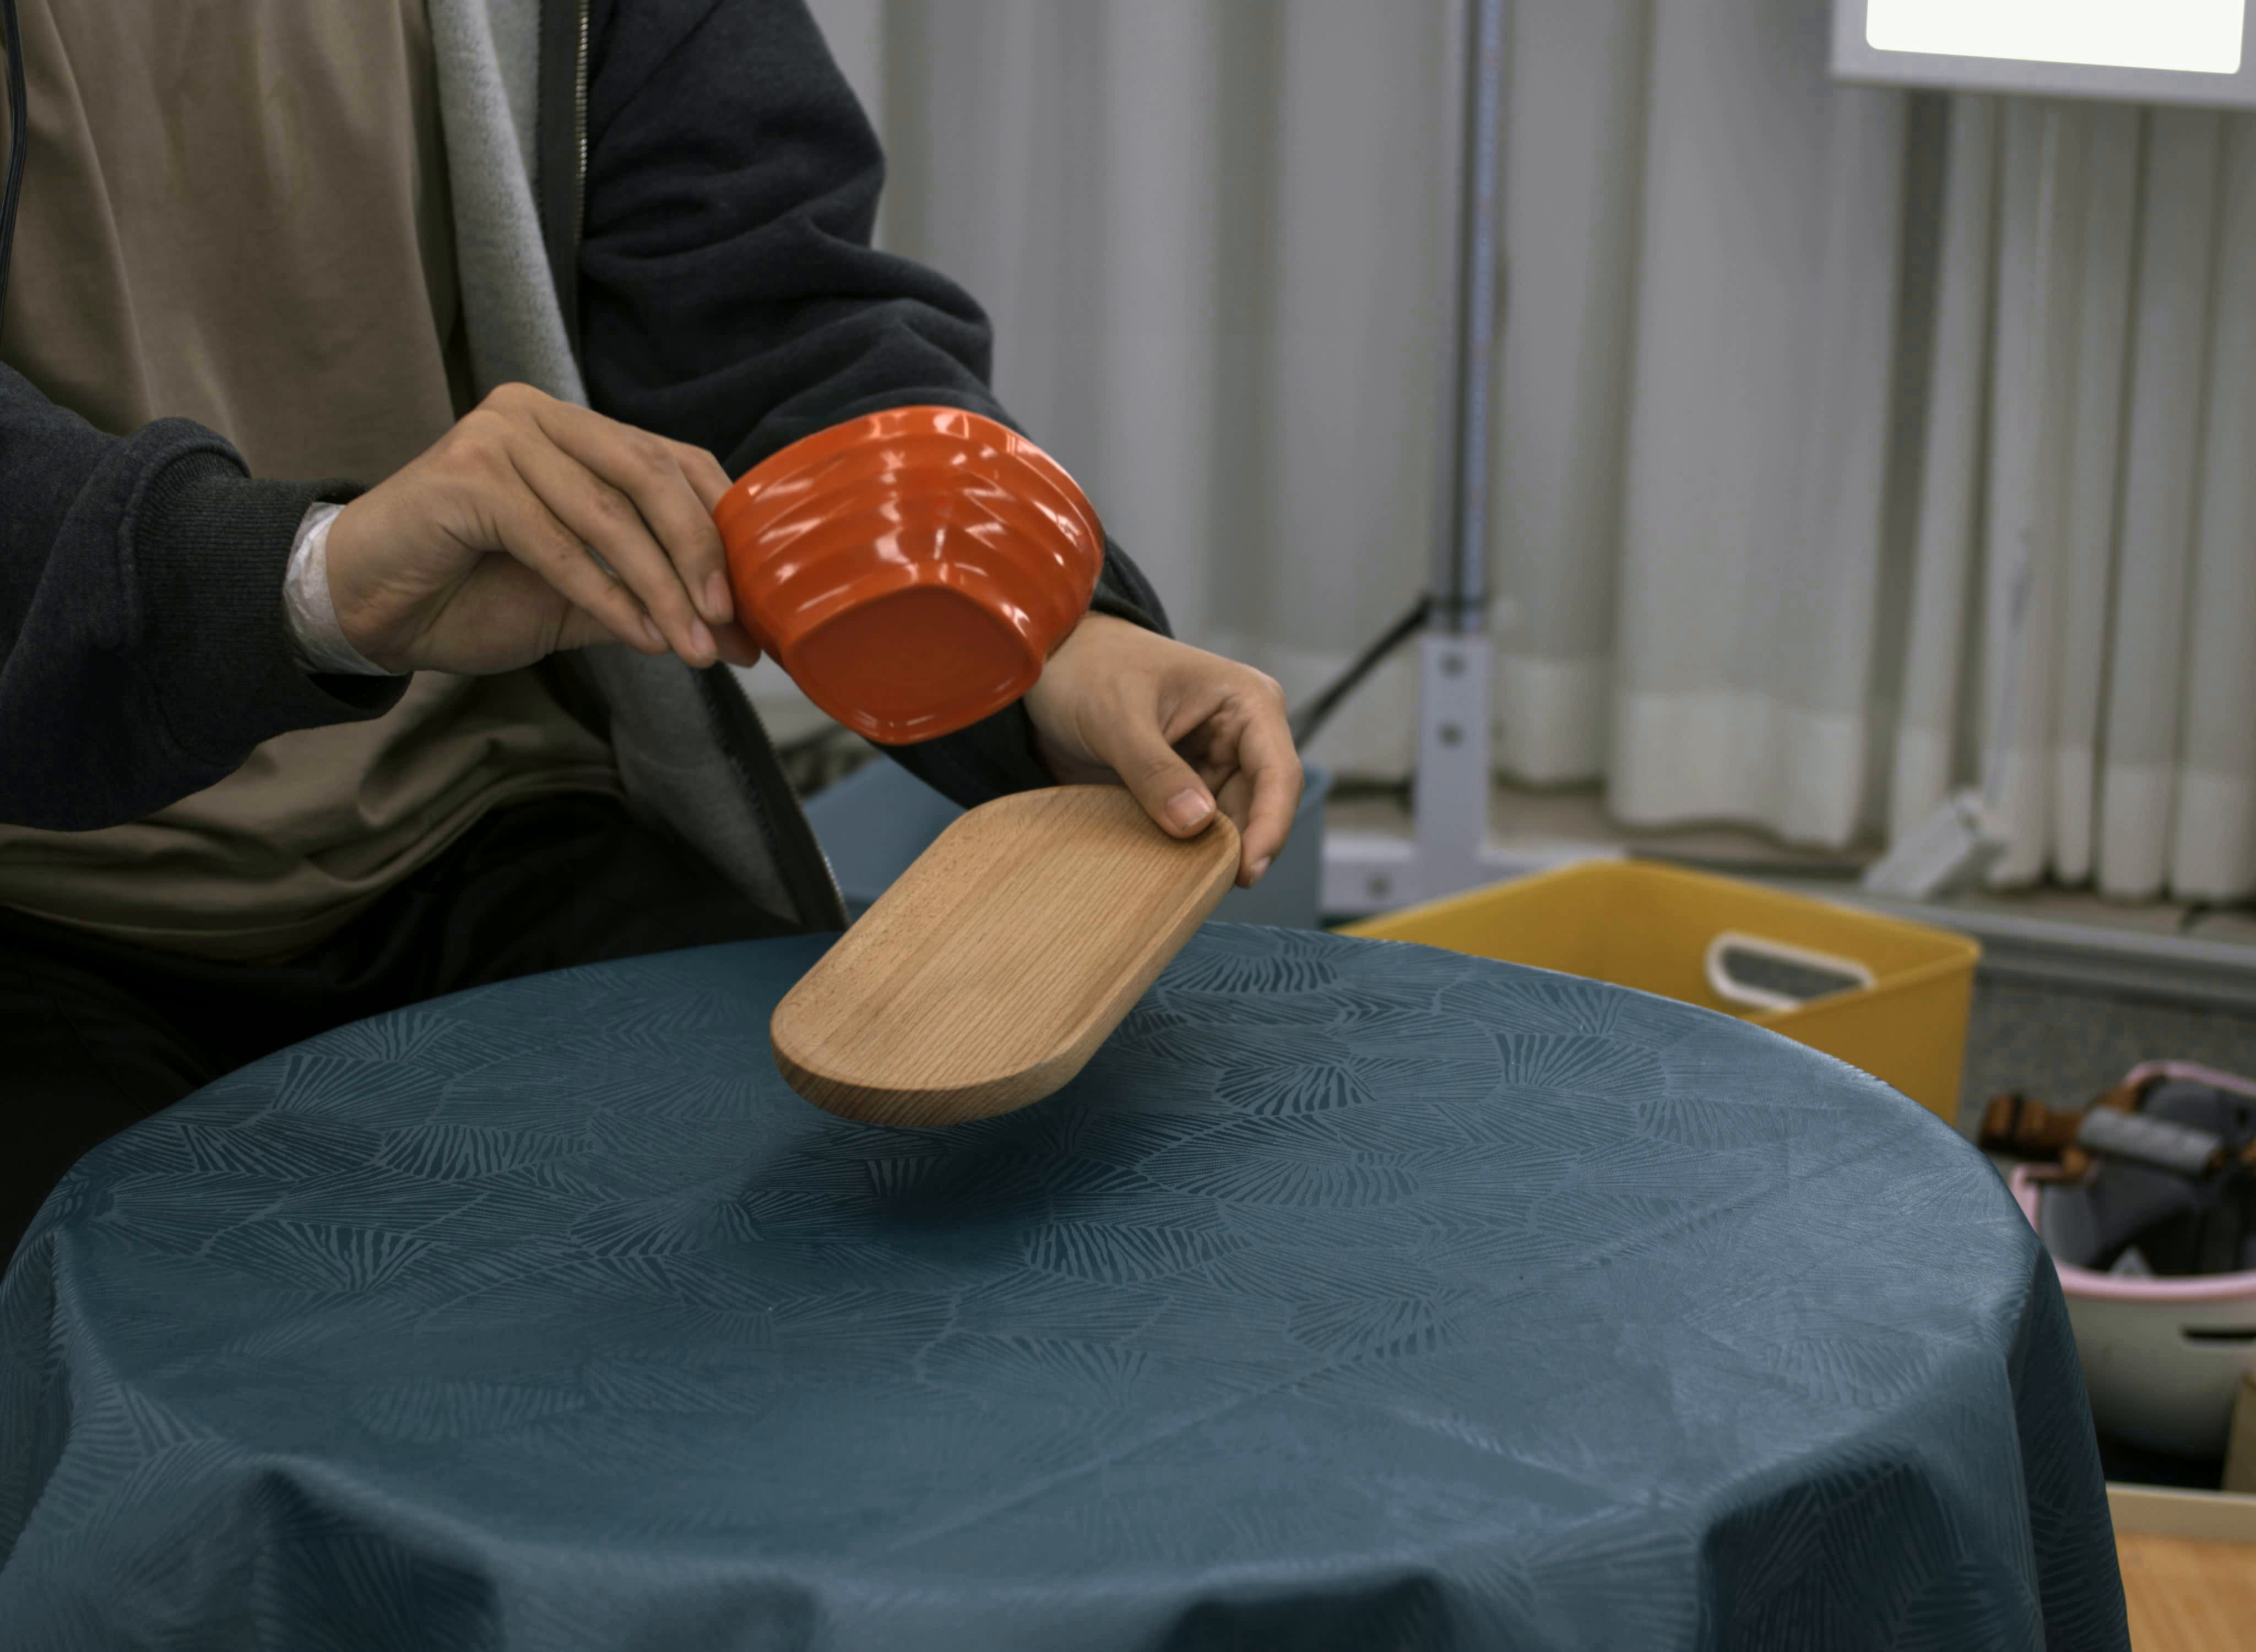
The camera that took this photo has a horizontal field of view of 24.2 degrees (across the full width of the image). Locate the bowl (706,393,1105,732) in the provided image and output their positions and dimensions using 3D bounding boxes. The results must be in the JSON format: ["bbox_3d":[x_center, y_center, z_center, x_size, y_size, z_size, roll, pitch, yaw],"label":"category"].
[{"bbox_3d":[-0.064,-0.070,1.539,0.119,0.120,0.051,-1,55,-6],"label":"bowl"}]

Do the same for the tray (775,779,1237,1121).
[{"bbox_3d":[-0.036,0.037,1.669,0.101,0.020,0.231,7,25,18],"label":"tray"}]
